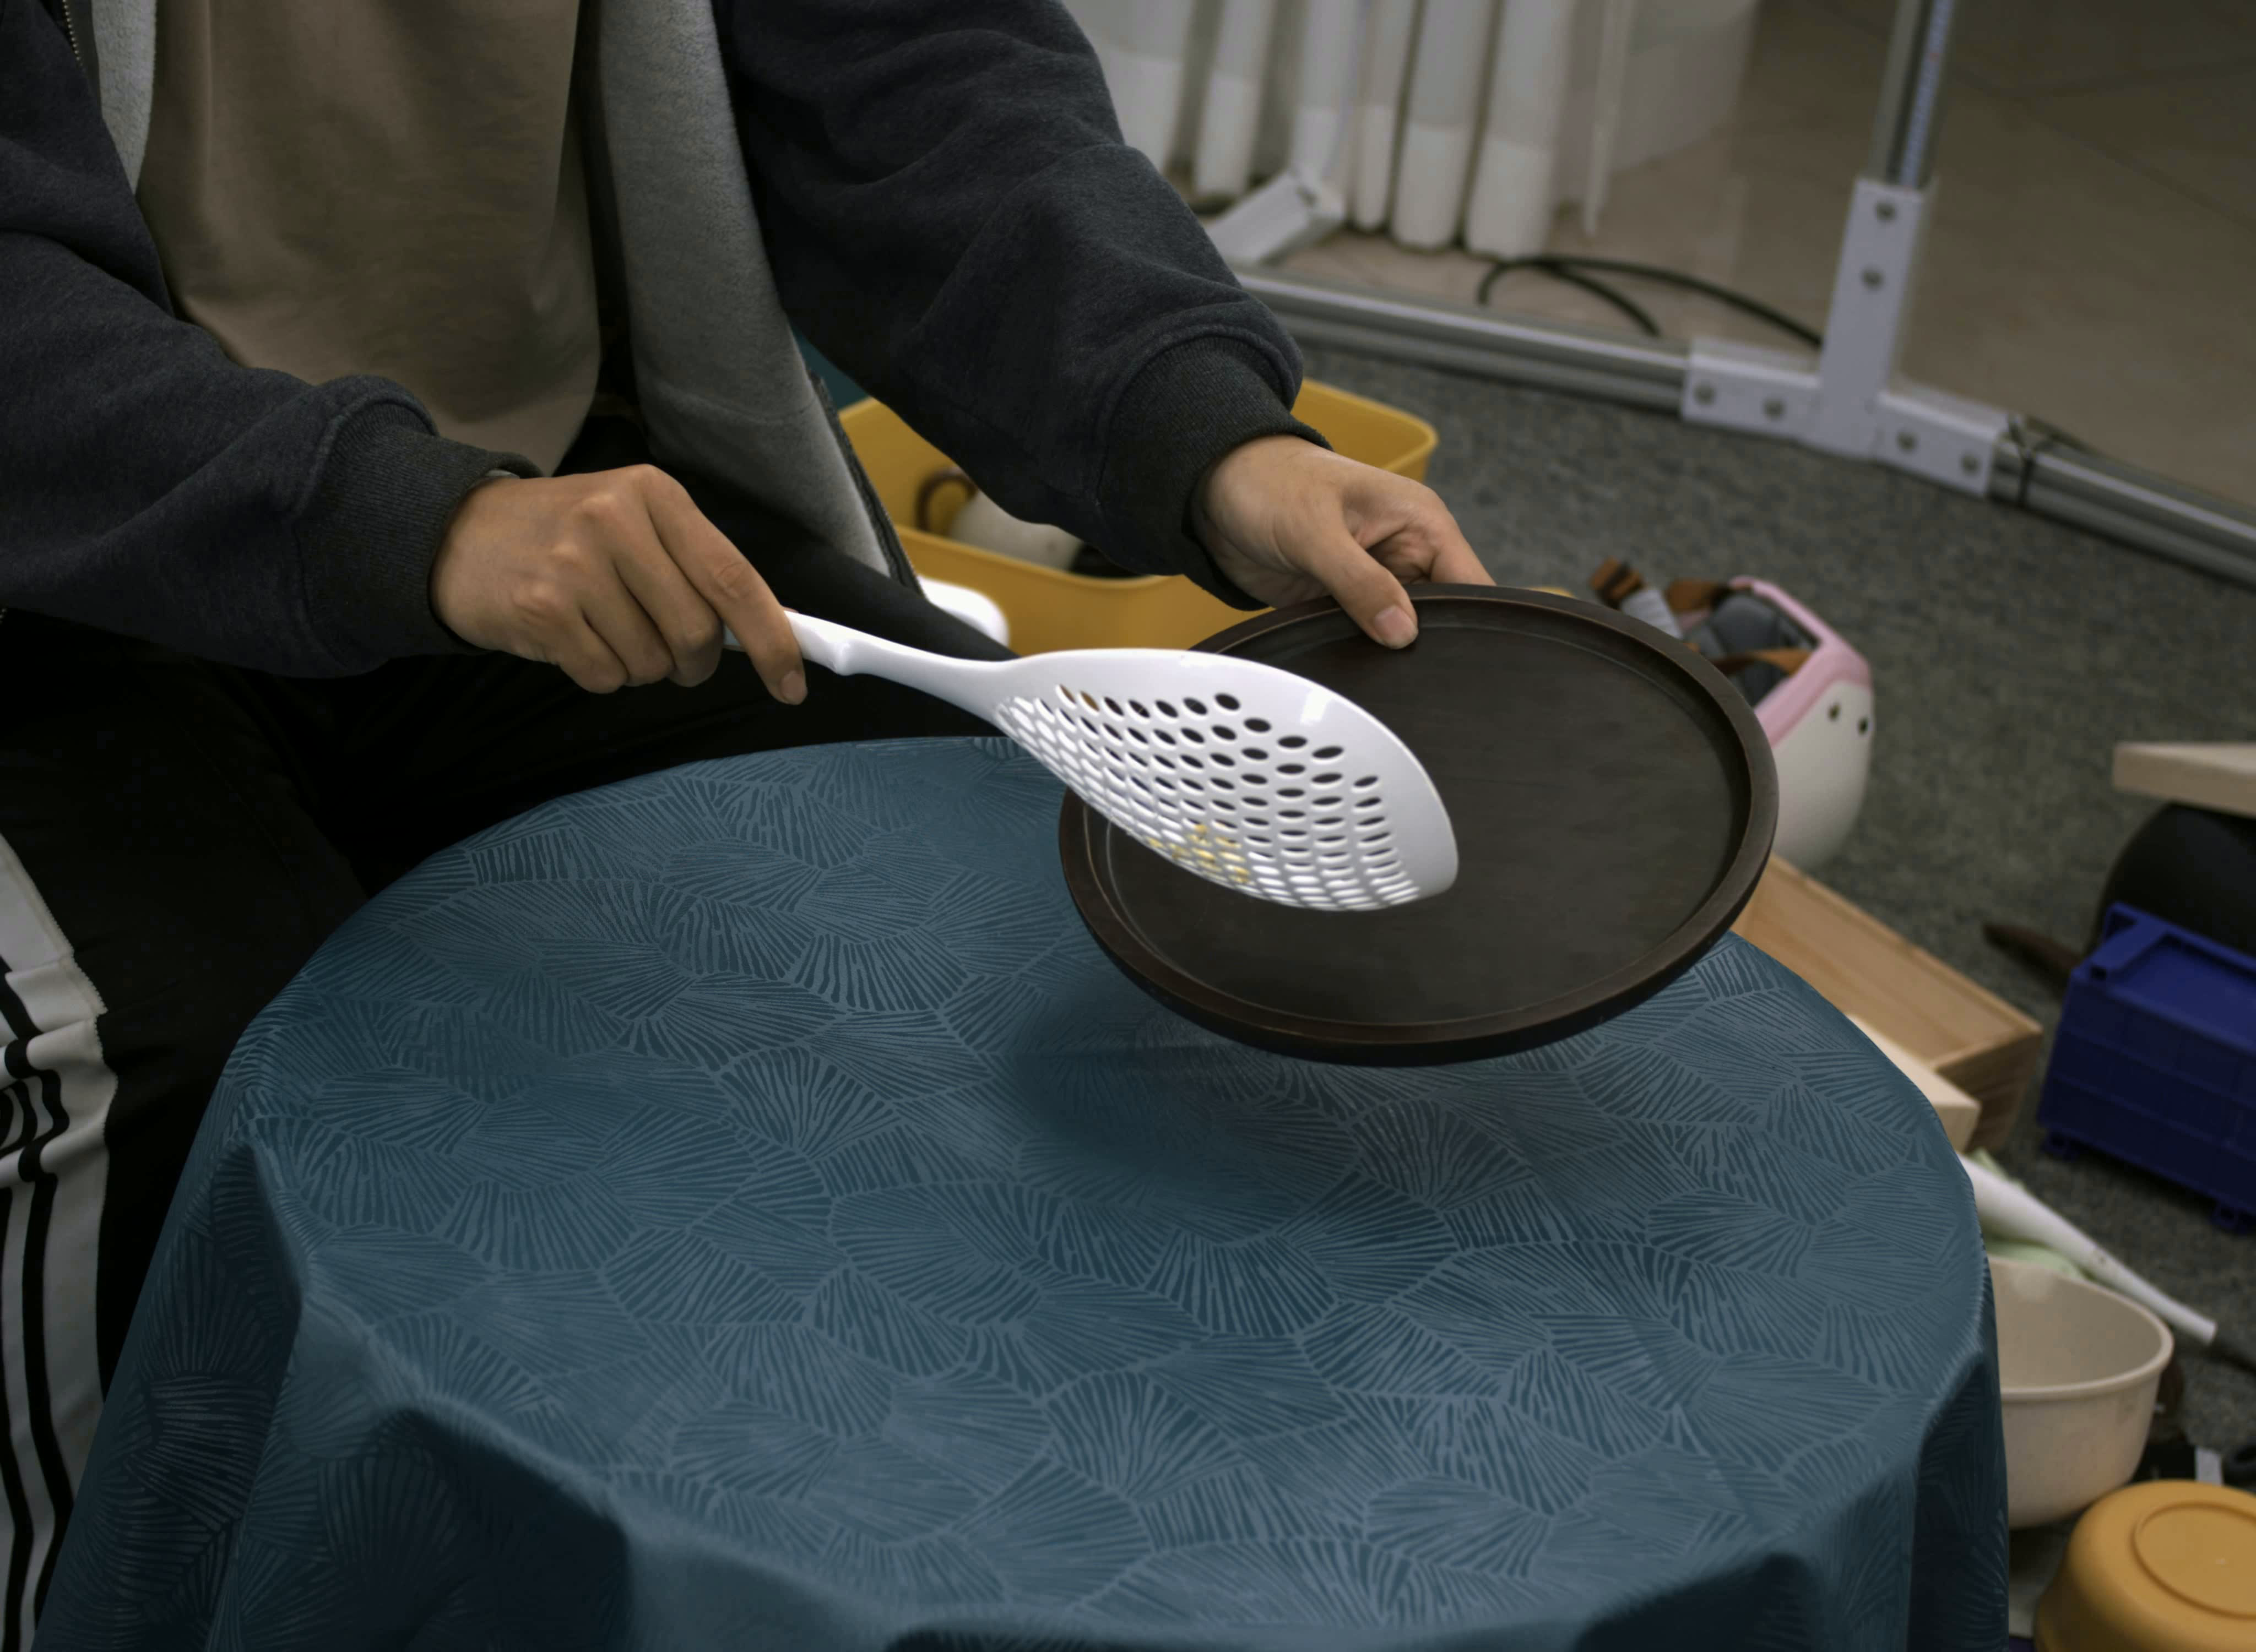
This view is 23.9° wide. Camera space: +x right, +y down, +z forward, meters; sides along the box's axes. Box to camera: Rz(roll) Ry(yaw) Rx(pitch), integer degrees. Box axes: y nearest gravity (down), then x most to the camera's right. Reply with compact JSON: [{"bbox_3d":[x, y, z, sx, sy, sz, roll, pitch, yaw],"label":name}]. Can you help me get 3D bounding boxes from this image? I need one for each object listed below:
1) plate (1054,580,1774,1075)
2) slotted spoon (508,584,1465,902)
[{"bbox_3d":[0.100,-0.001,1.865,0.254,0.029,0.257,-6,40,5],"label":"plate"},{"bbox_3d":[-0.052,-0.039,1.787,0.349,0.136,0.050,20,66,24],"label":"slotted spoon"}]
